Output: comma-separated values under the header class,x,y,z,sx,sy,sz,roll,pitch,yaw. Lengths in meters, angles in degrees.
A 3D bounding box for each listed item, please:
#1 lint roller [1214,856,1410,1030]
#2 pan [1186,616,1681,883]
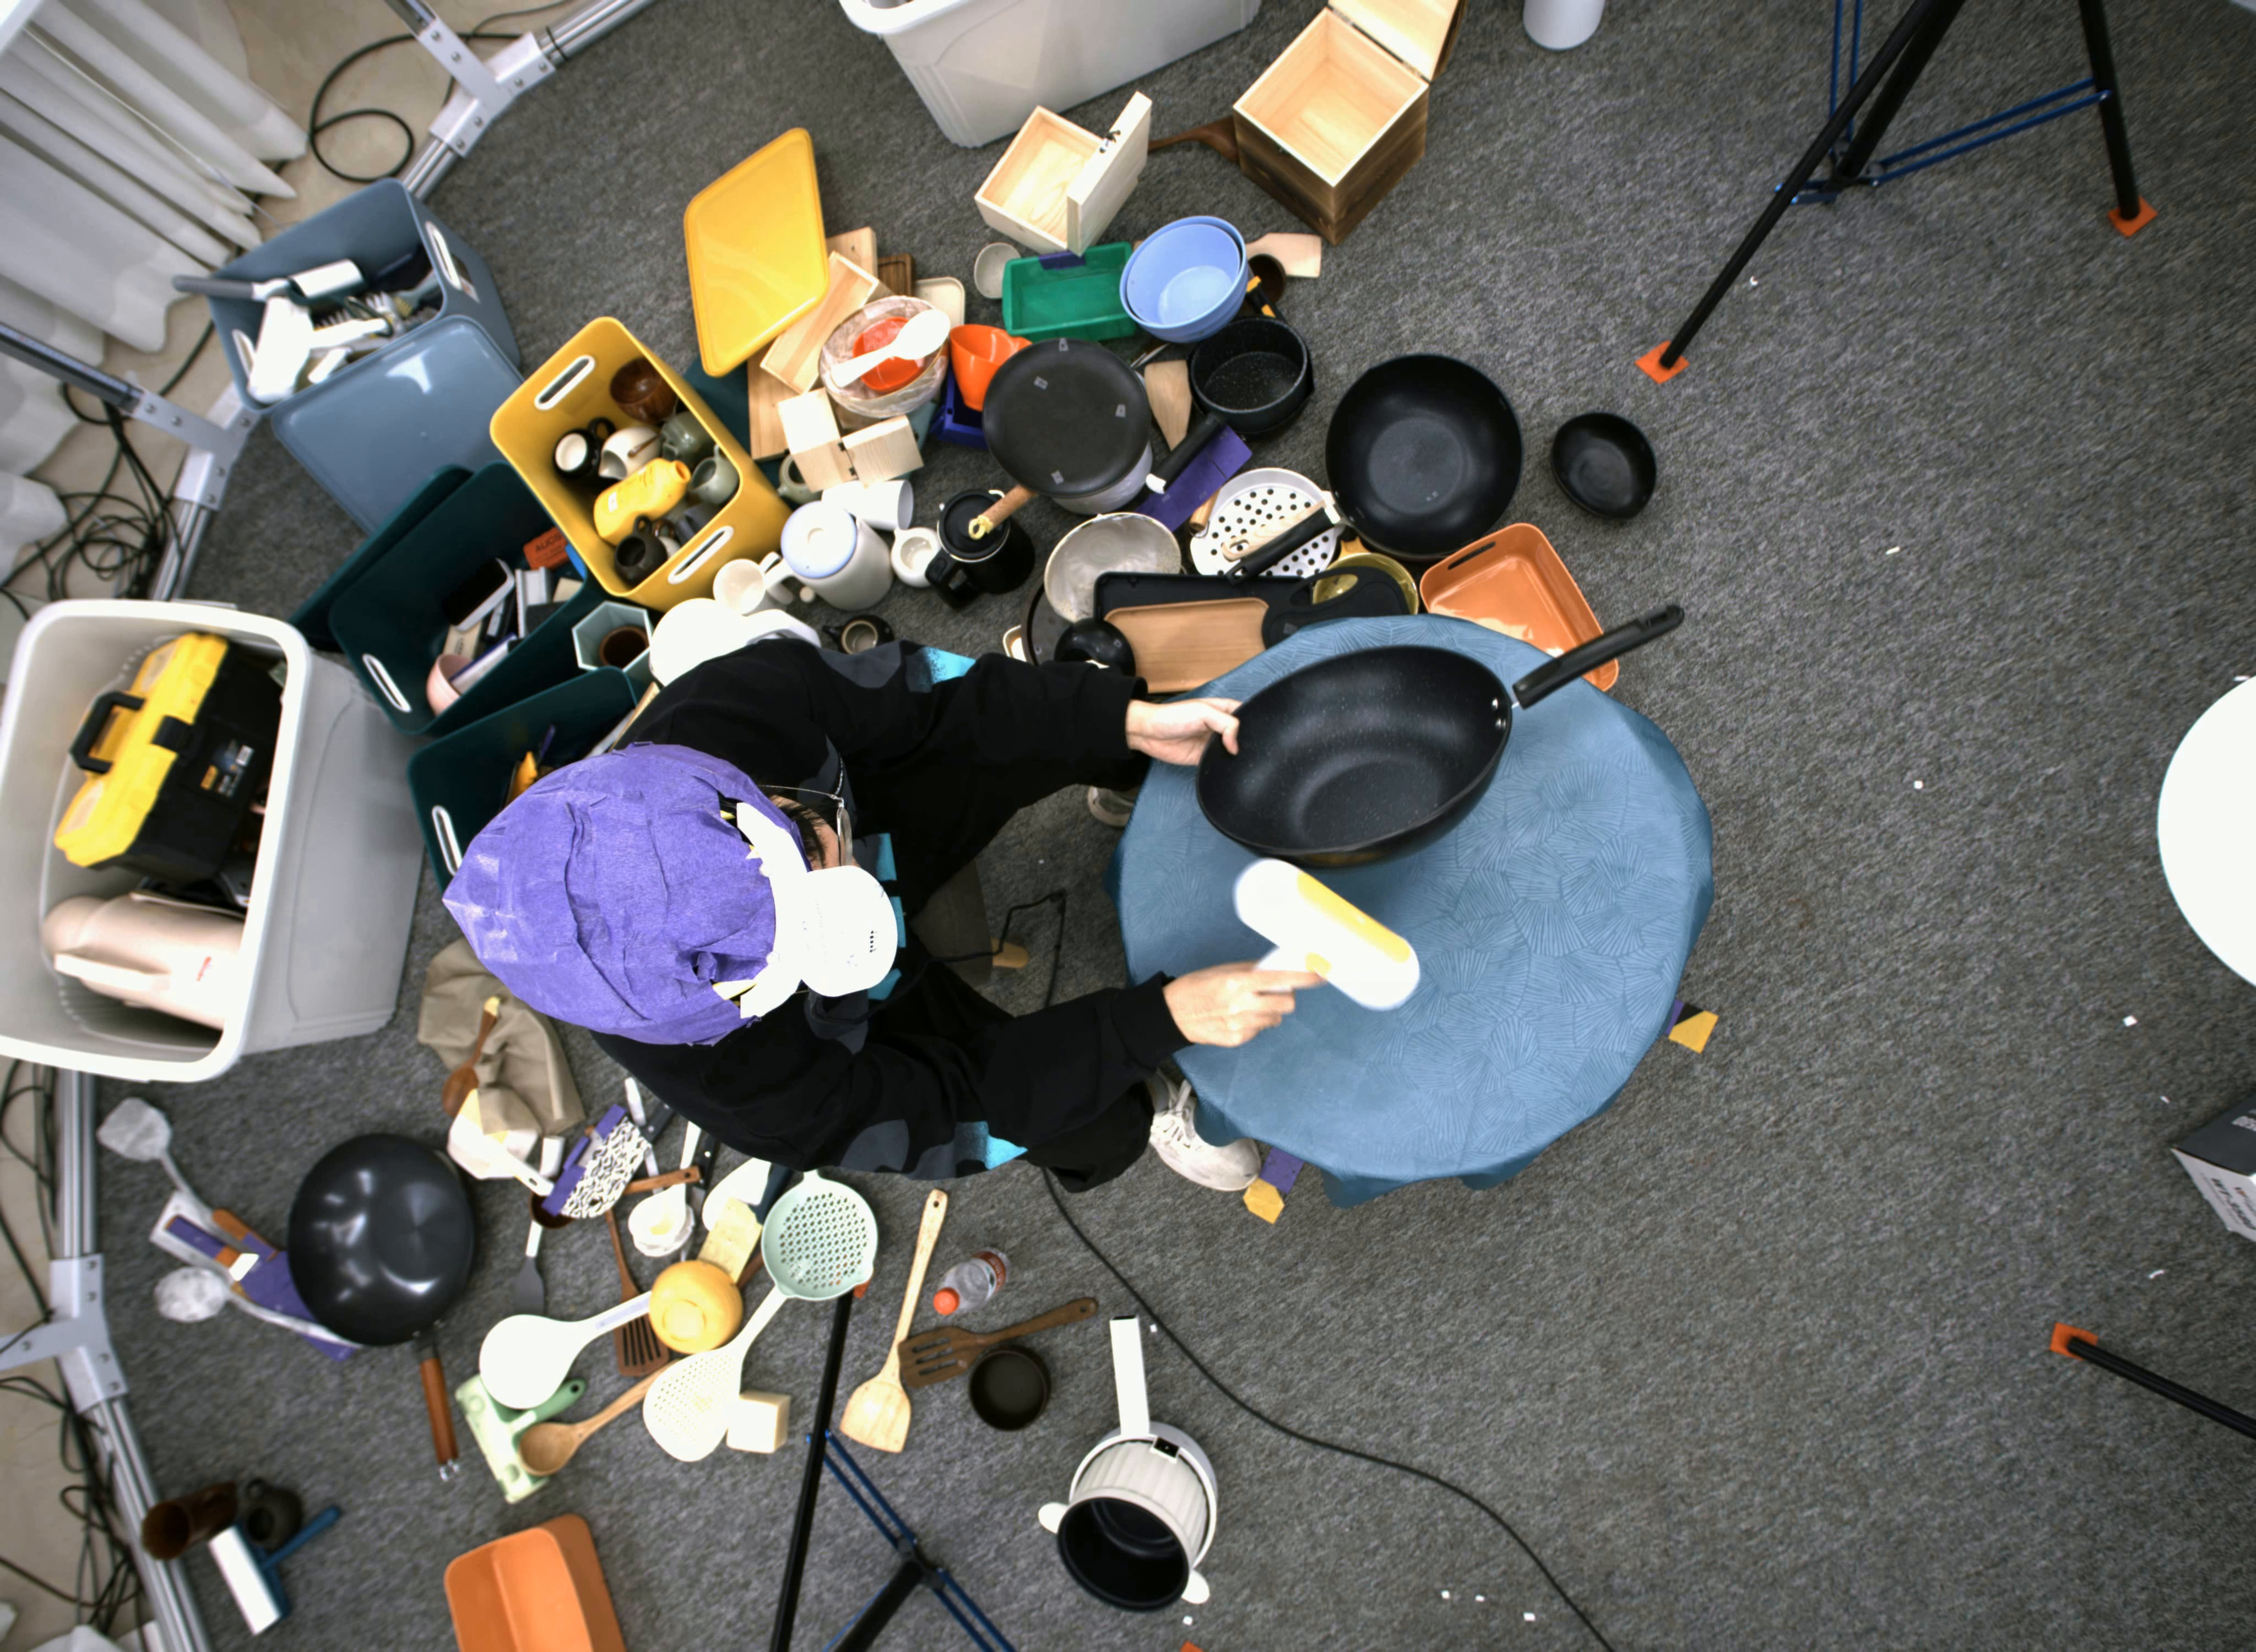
class,x,y,z,sx,sy,sz,roll,pitch,yaw
lint roller,0.143,0.126,1.305,0.193,0.197,0.072,24,49,-16
pan,0.290,-0.080,1.304,0.480,0.302,0.114,-18,129,13
